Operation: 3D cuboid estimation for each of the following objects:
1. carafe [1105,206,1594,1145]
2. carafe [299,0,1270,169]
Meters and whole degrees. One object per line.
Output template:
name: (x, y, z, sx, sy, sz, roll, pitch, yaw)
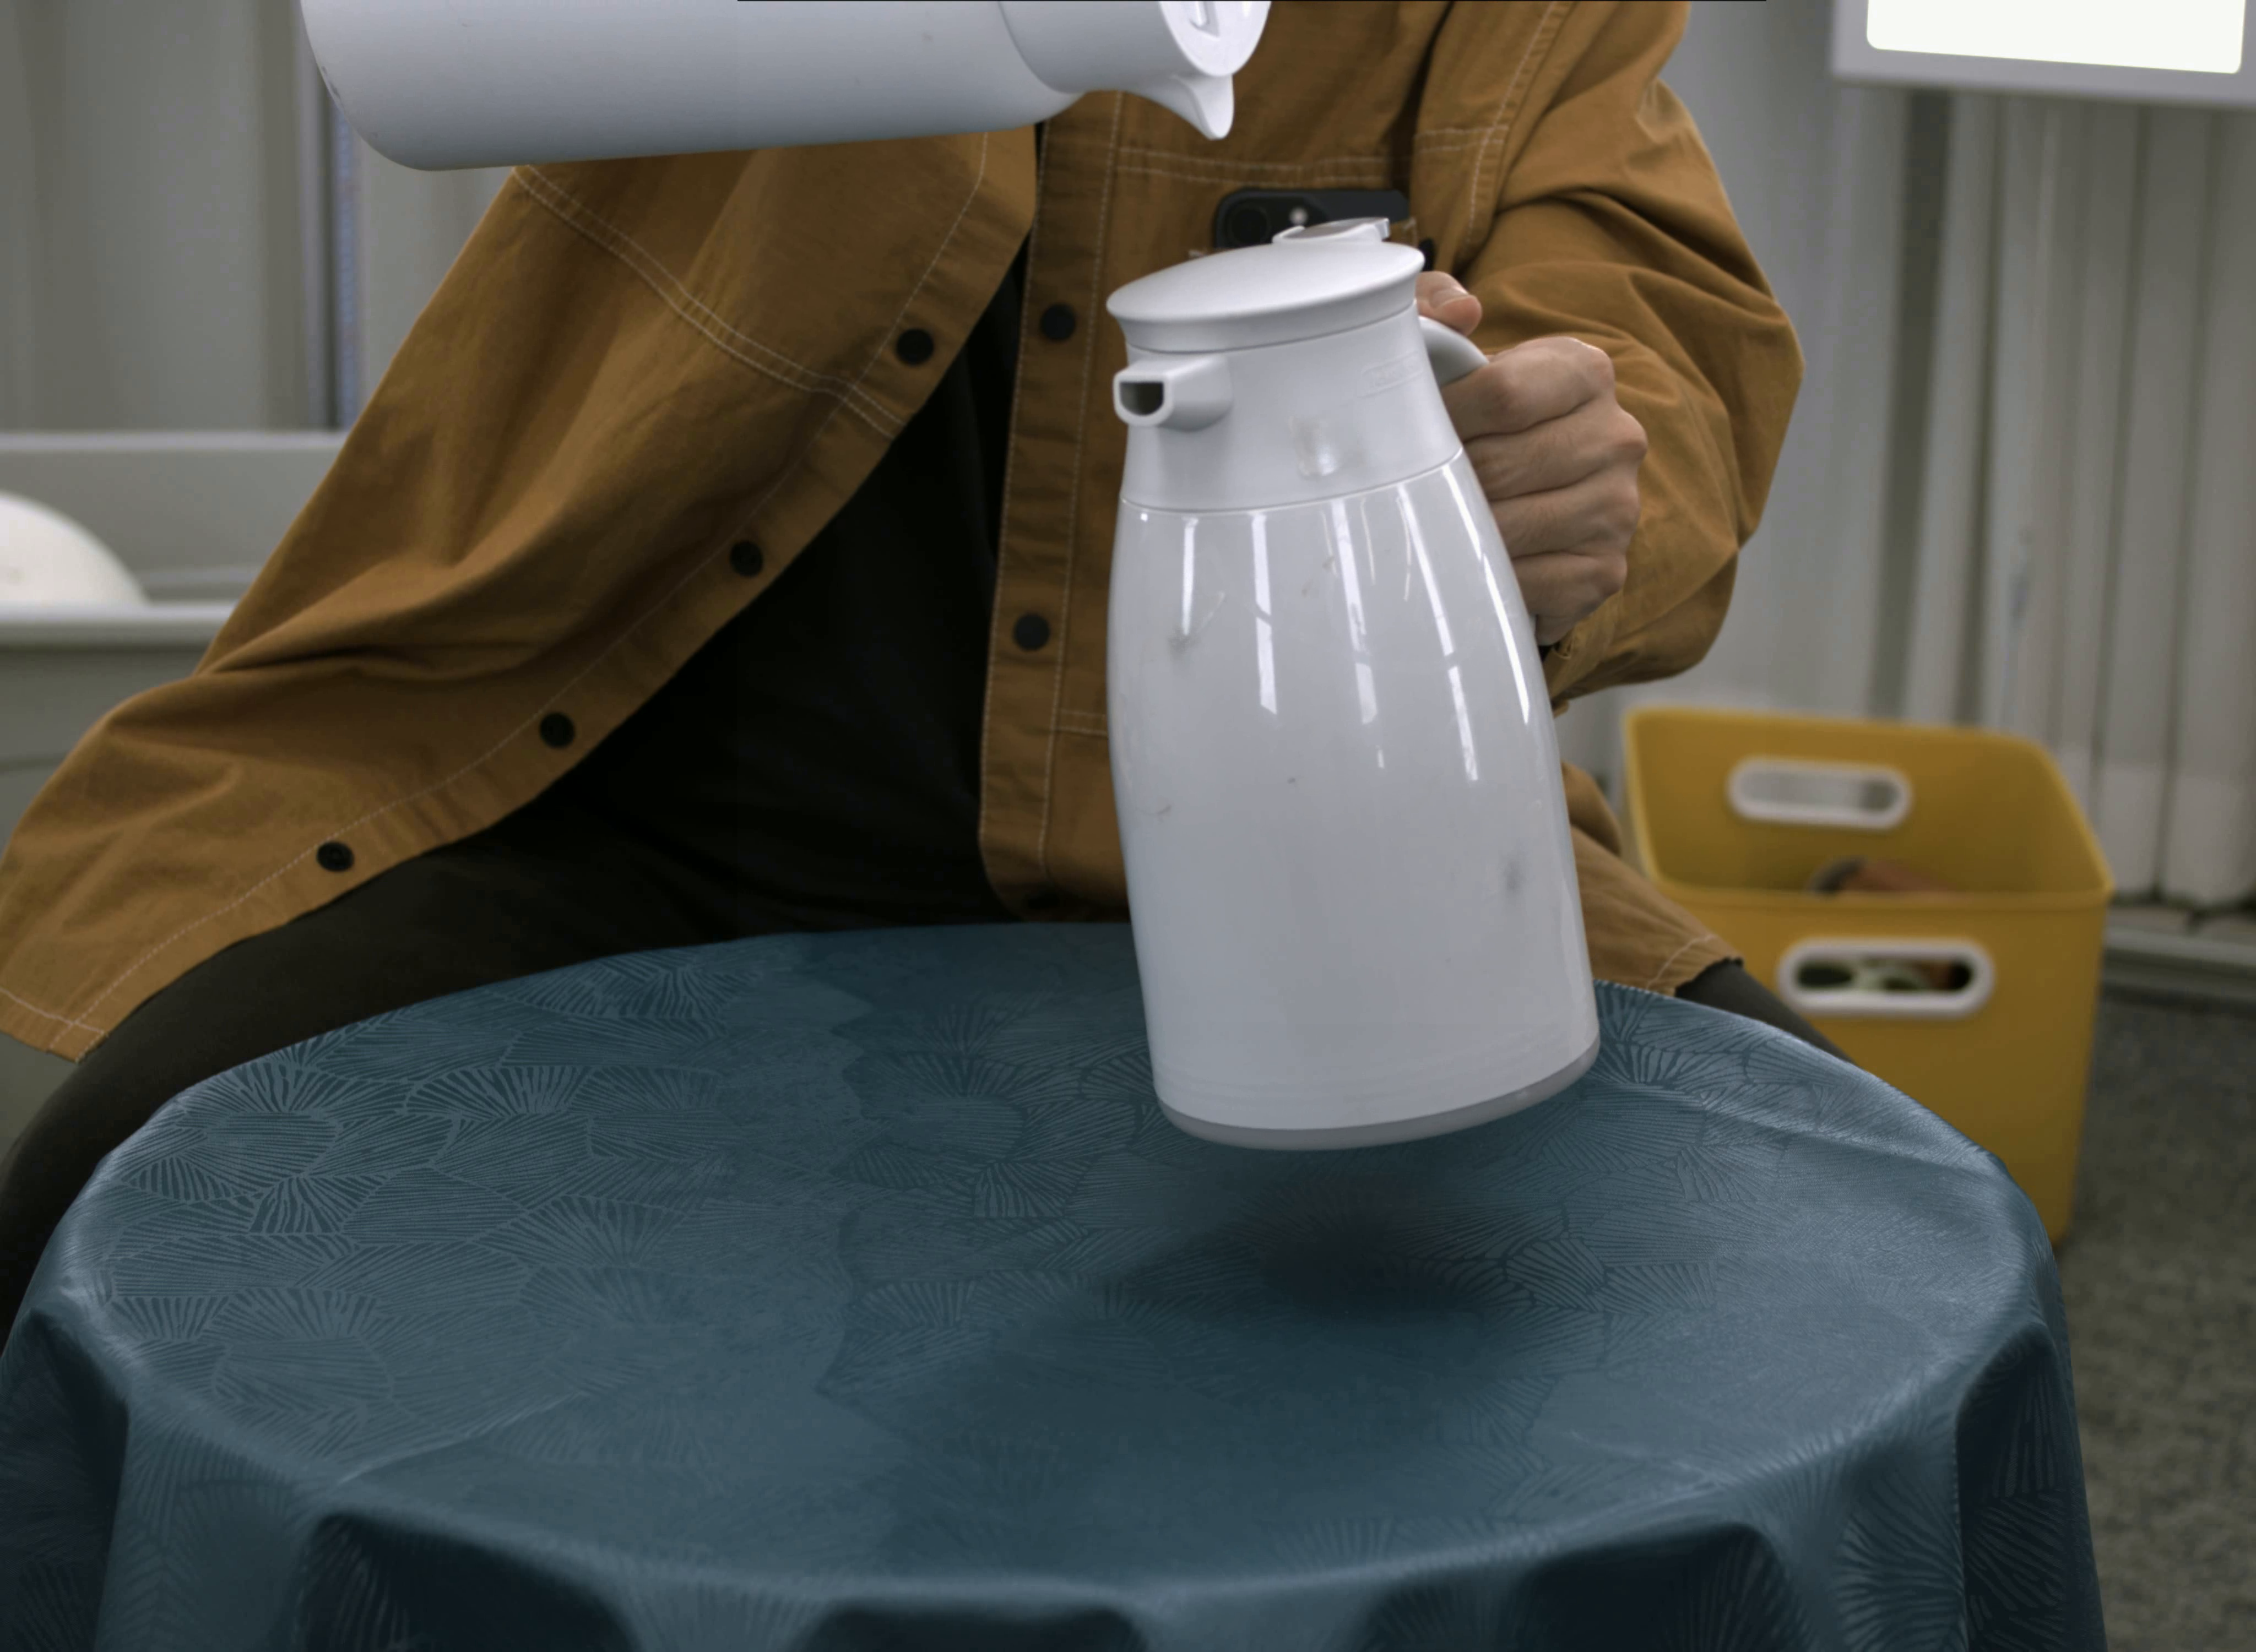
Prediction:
carafe: (0.066, -0.052, 1.530, 0.131, 0.251, 0.168, 4, 19, 37)
carafe: (-0.101, -0.269, 1.481, 0.266, 0.175, 0.123, -1, 28, 25)
